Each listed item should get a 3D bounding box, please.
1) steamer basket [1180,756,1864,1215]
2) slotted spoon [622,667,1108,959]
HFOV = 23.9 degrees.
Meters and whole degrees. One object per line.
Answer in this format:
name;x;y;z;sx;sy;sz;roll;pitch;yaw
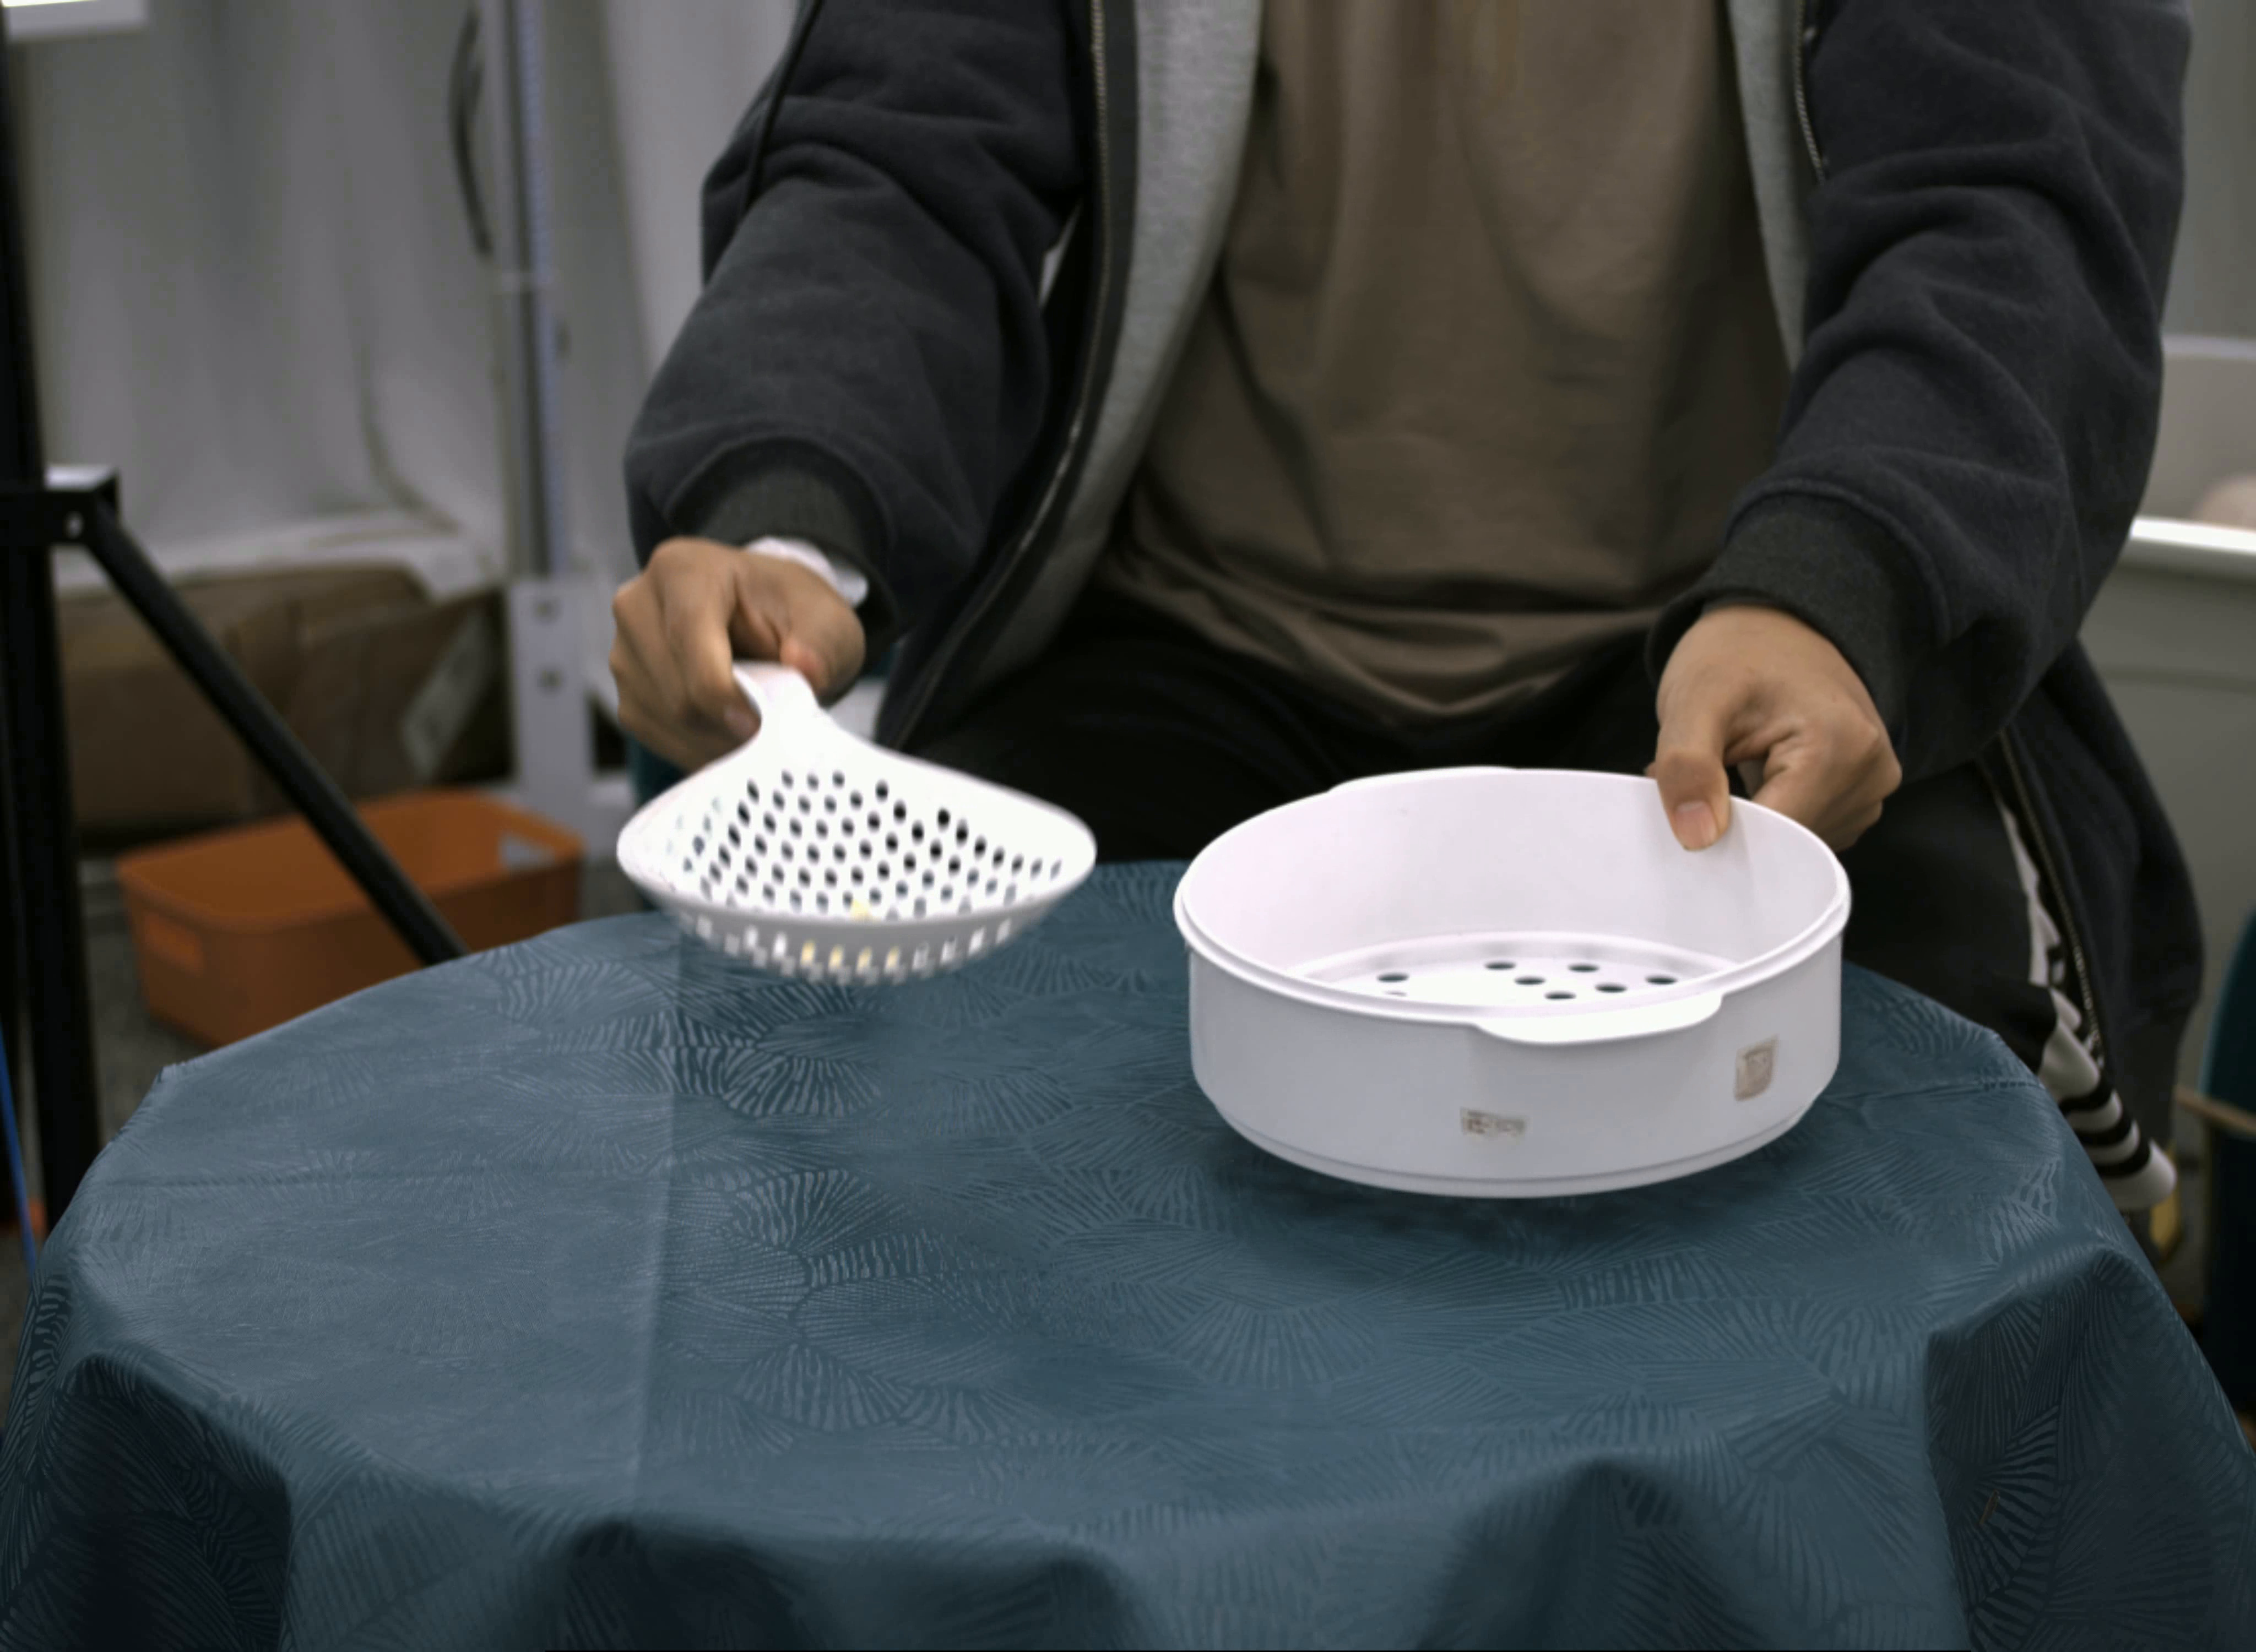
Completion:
steamer basket;0.116;0.048;1.573;0.199;0.069;0.234;-6;23;-9
slotted spoon;-0.098;-0.018;1.606;0.135;0.050;0.352;-6;19;-11
